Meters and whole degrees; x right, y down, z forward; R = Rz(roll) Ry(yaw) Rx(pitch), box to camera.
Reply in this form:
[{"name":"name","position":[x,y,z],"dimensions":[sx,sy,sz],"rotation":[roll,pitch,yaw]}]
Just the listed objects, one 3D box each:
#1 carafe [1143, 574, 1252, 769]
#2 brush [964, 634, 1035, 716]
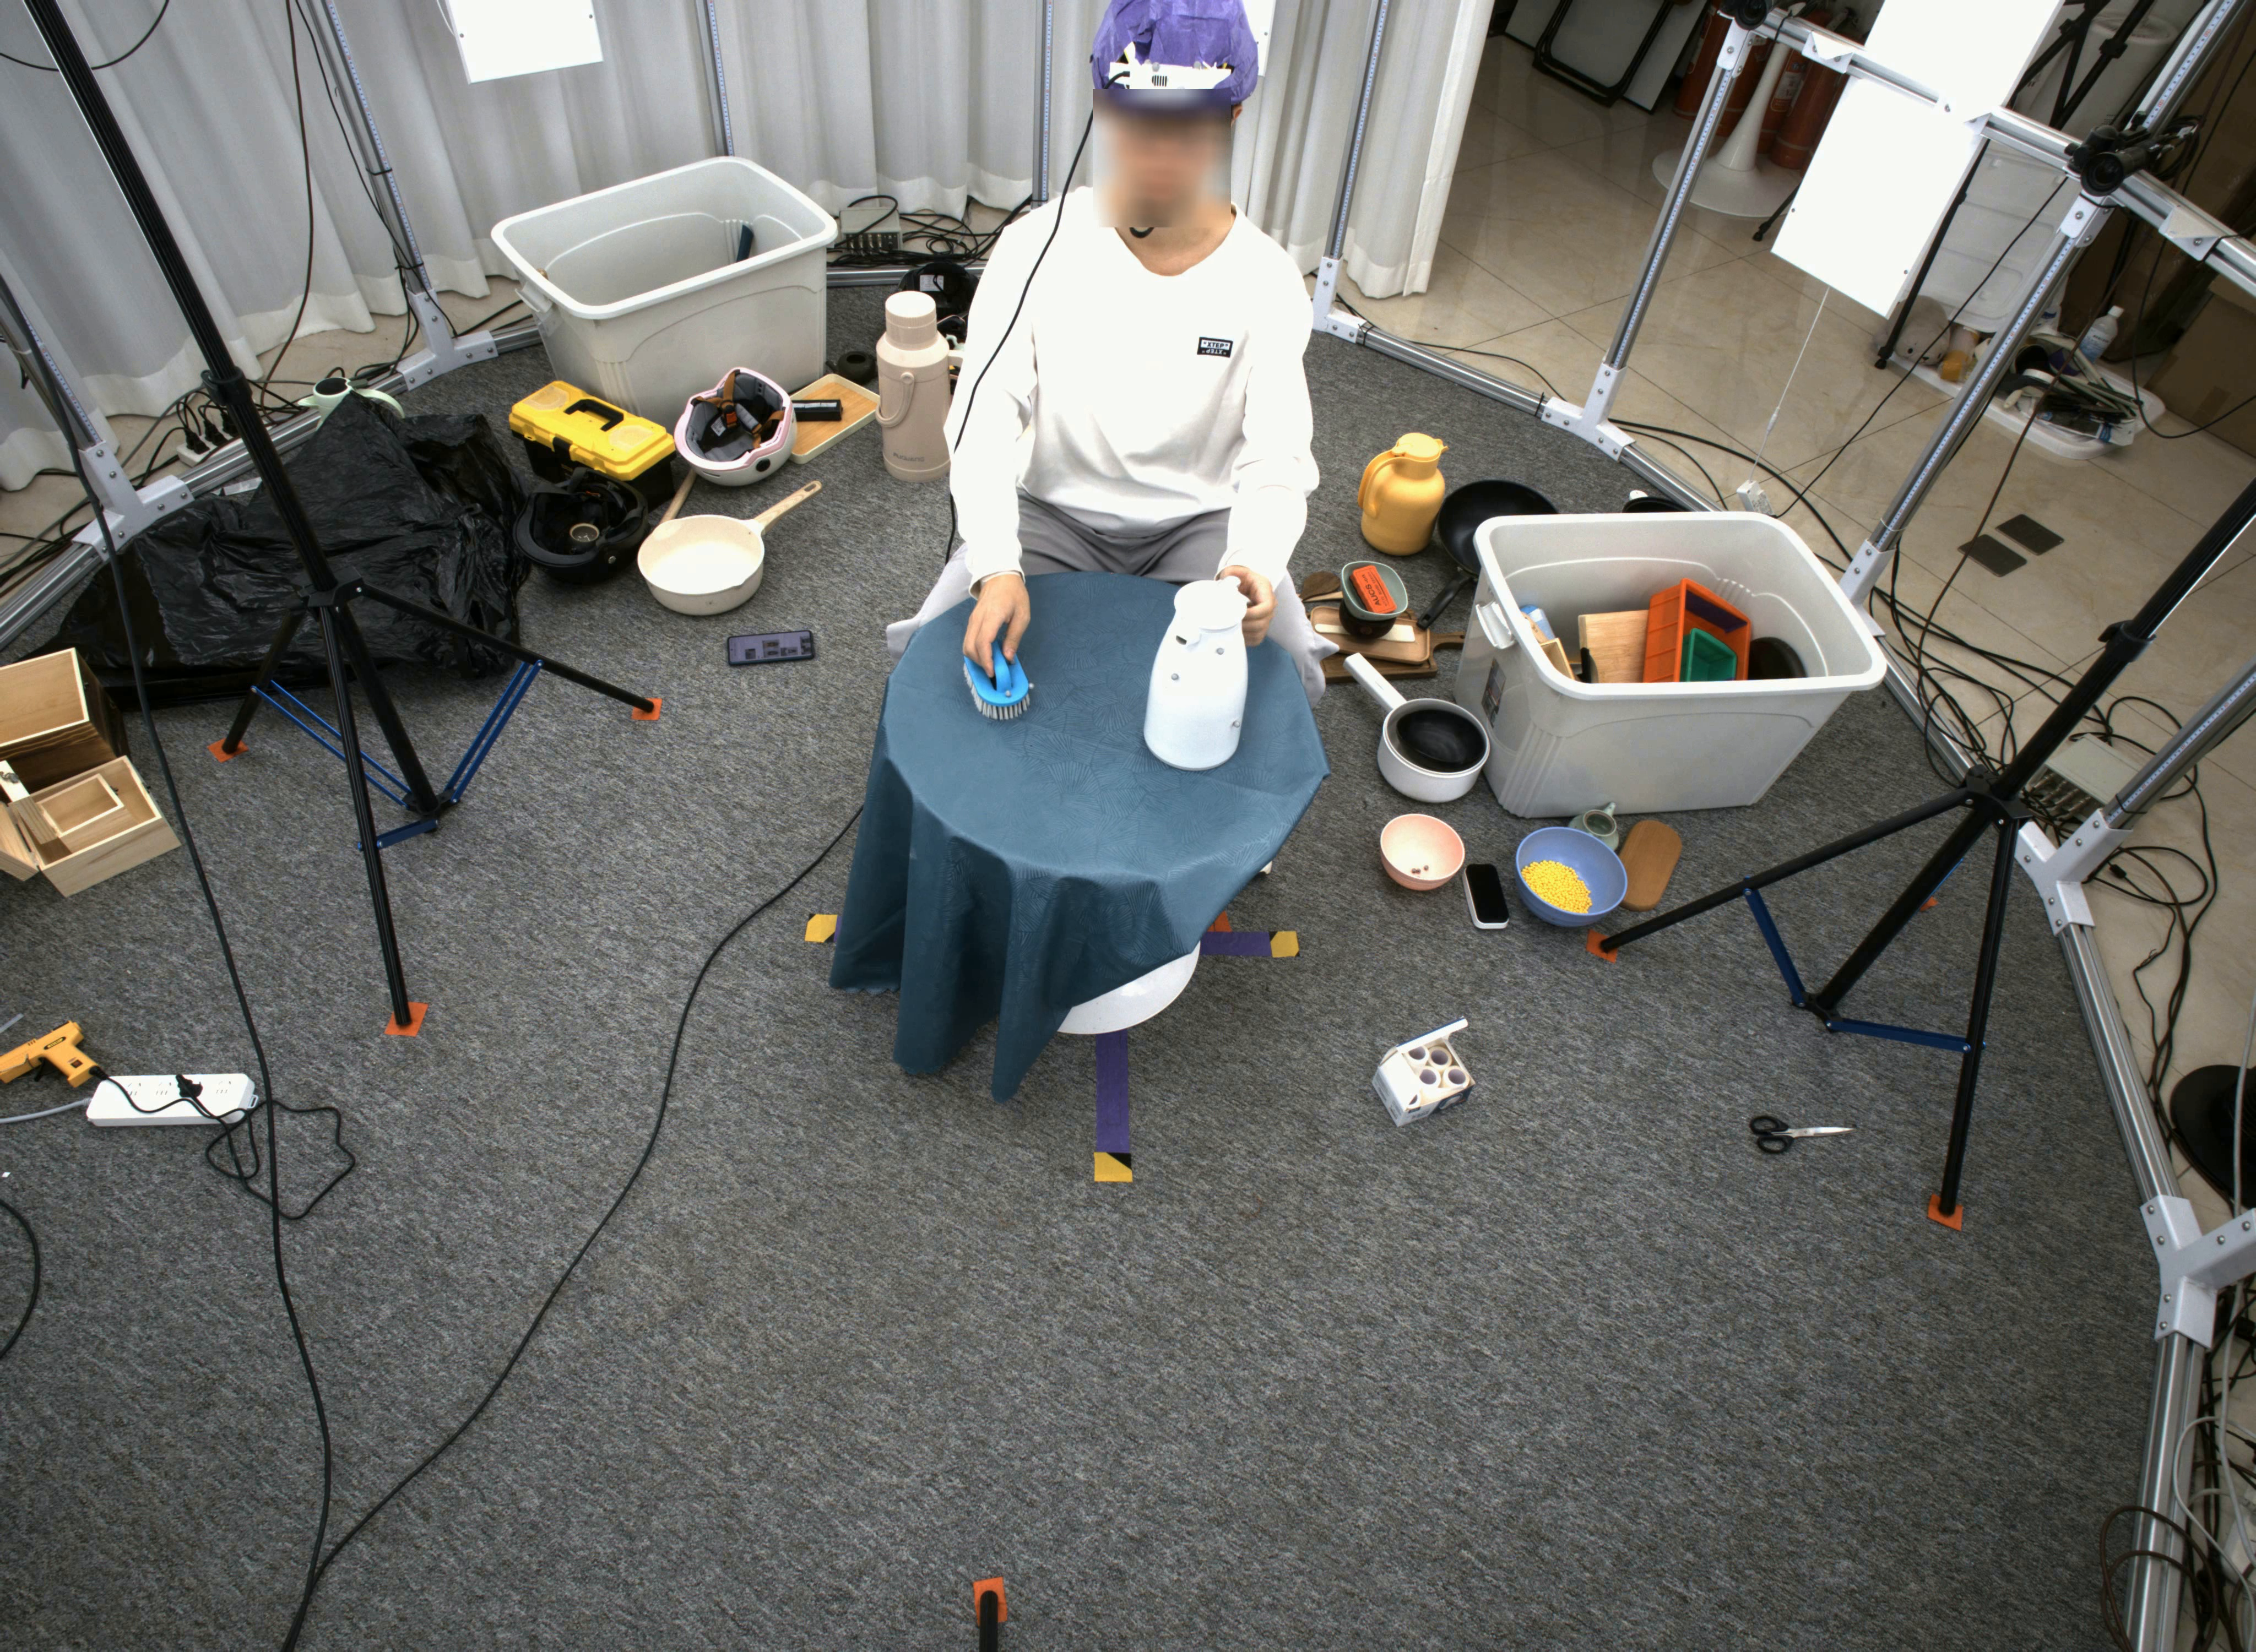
[{"name":"carafe","position":[0.105,-0.218,1.699],"dimensions":[0.134,0.242,0.170],"rotation":[30,53,20]},{"name":"brush","position":[-0.183,-0.223,1.803],"dimensions":[0.084,0.062,0.145],"rotation":[-14,49,-9]}]
